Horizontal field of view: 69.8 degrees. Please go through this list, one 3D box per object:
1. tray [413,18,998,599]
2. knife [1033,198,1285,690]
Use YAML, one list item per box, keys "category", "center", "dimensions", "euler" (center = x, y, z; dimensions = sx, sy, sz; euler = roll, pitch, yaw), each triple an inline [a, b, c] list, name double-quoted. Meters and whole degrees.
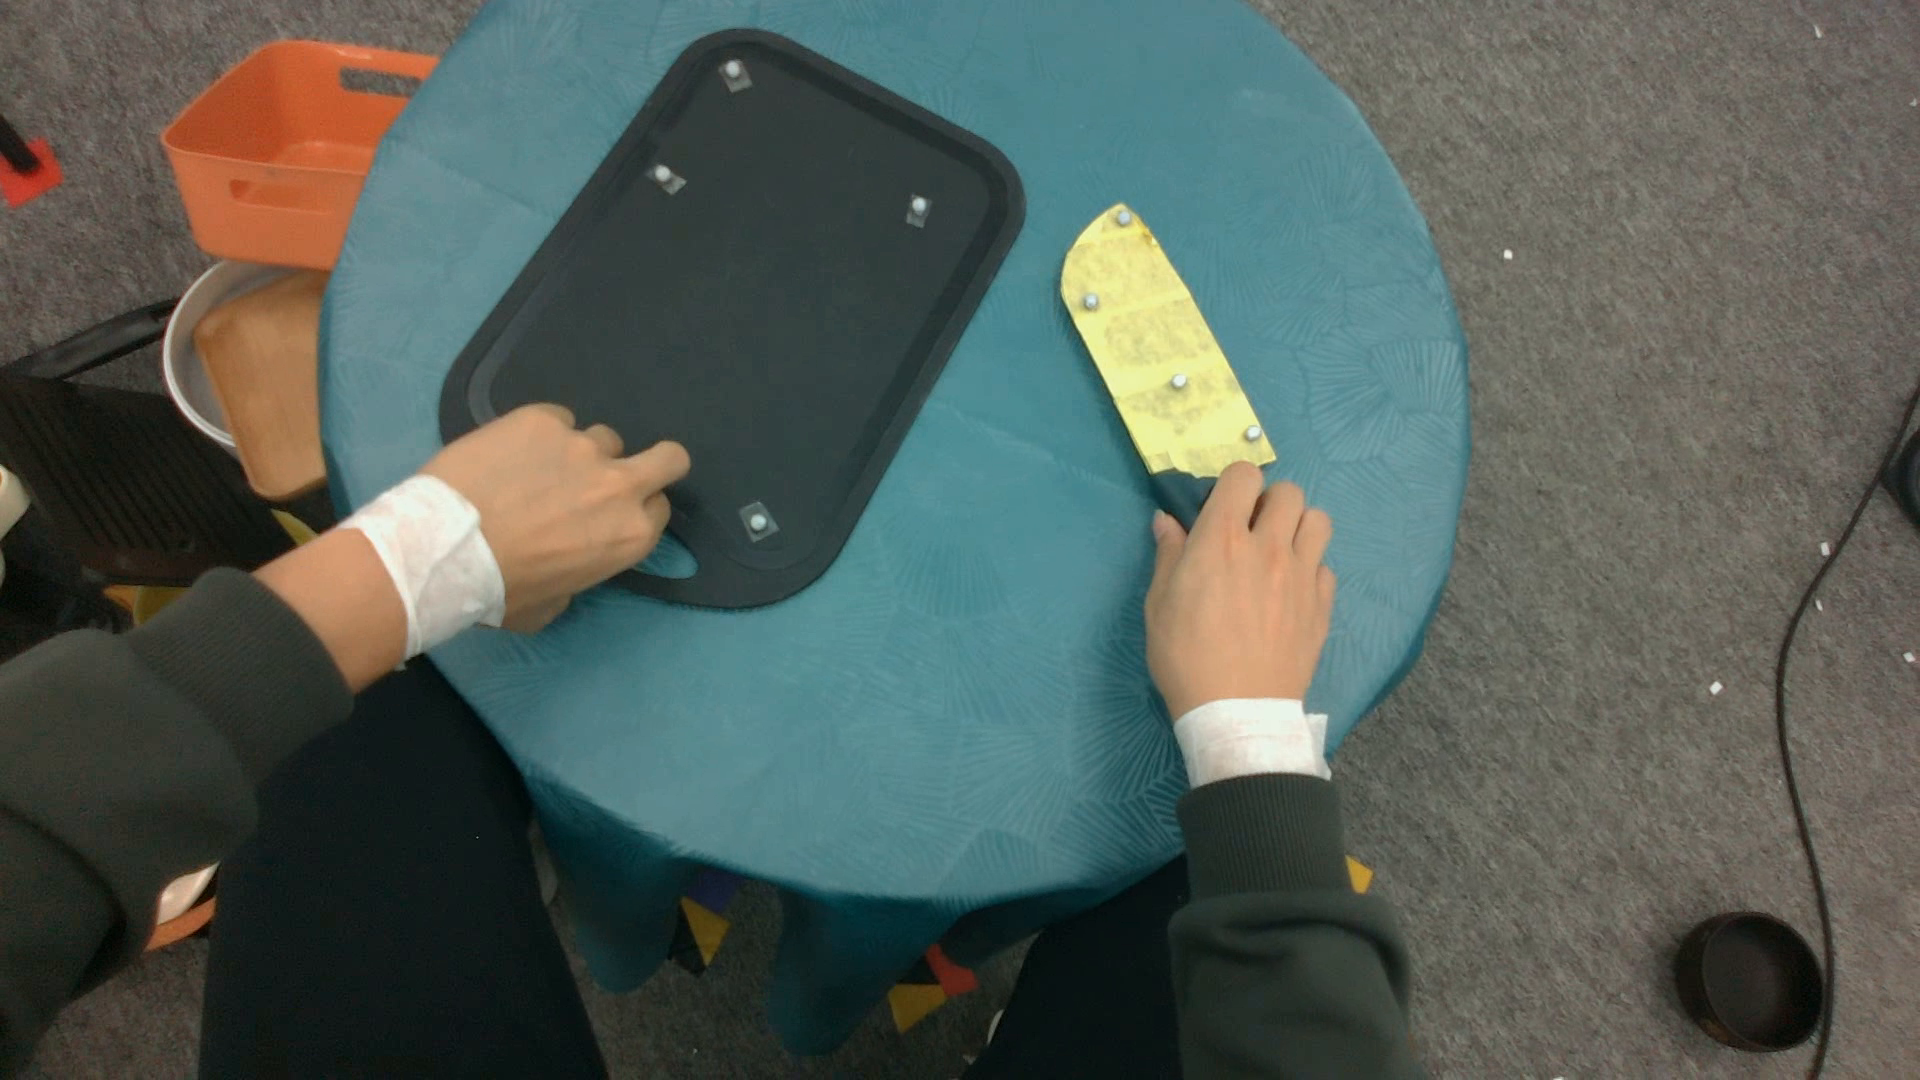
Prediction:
- category: "tray"
  center: [-0.124, -0.126, 0.707]
  dimensions: [0.211, 0.010, 0.326]
  euler: [27, 67, 0]
- category: "knife"
  center: [0.111, -0.060, 0.724]
  dimensions: [0.081, 0.027, 0.290]
  euler: [-16, 74, -18]
